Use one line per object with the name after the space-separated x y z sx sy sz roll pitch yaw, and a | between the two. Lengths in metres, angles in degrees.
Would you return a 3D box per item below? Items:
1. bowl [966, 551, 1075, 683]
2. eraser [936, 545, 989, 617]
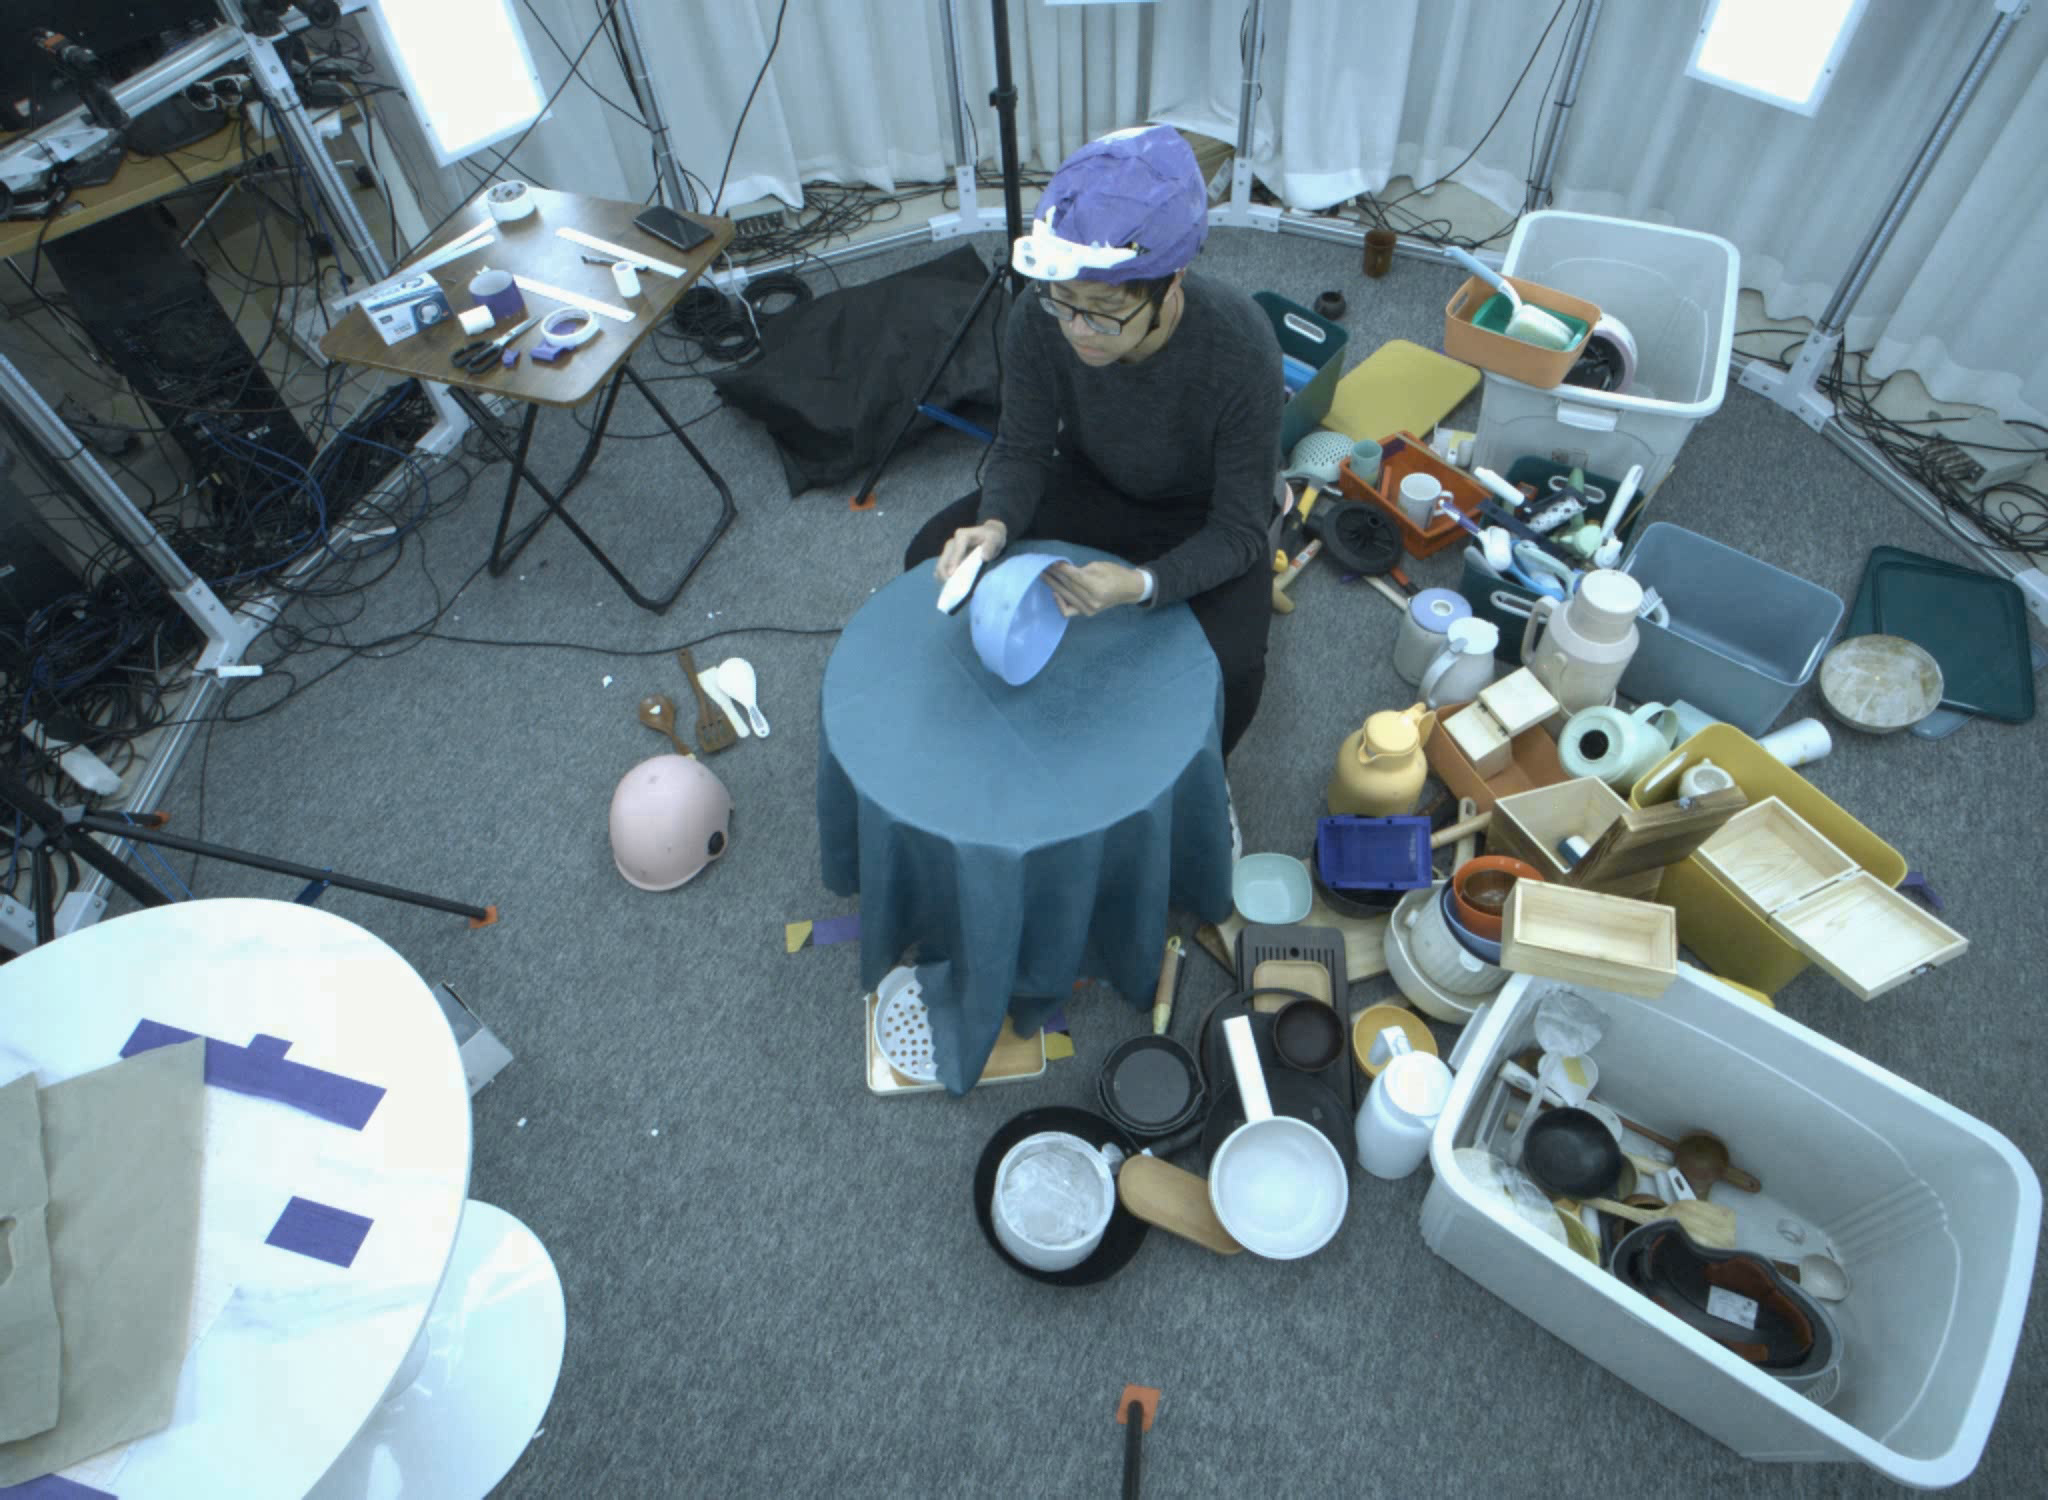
-0.019 -0.204 1.764 0.094 0.199 0.197 28 61 22 | bowl
-0.091 -0.250 1.785 0.035 0.063 0.130 39 38 -18 | eraser
